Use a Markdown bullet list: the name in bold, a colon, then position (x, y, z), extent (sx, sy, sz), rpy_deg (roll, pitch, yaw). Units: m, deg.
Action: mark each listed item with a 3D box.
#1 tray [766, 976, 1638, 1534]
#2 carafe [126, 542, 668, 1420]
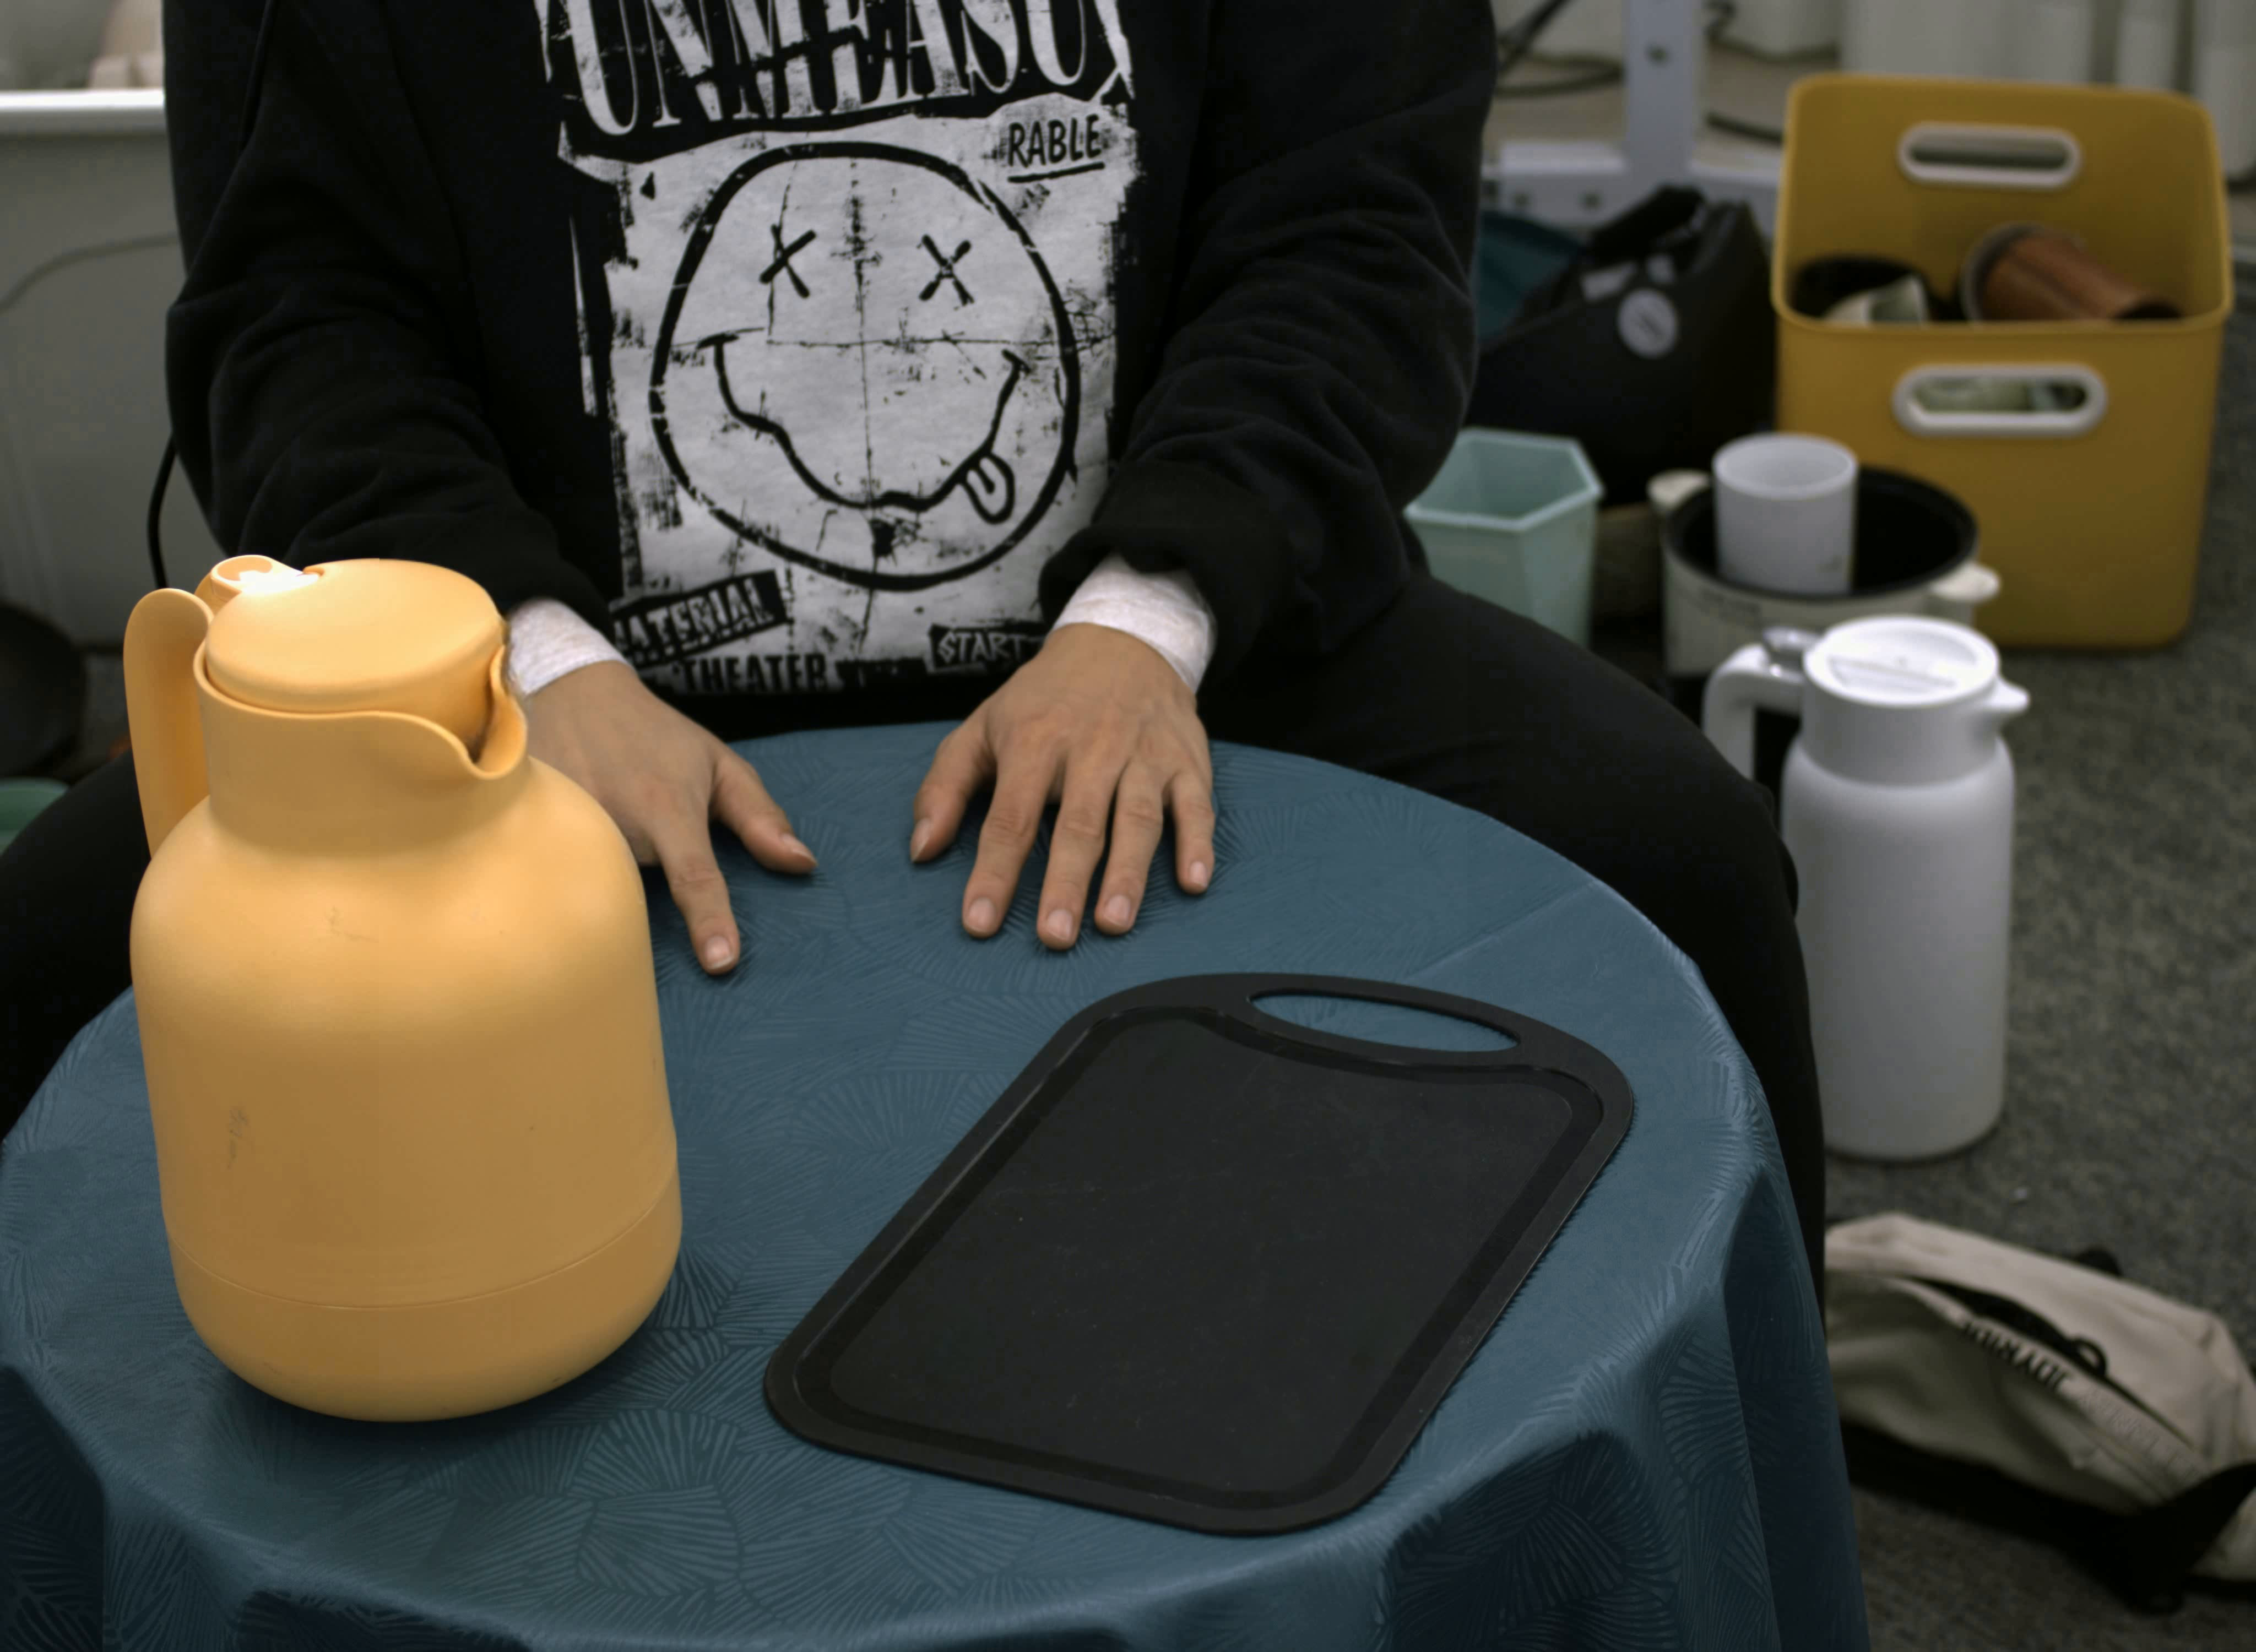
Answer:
- **tray**: position (0.032, 0.128, 1.835), extent (0.210, 0.009, 0.331), rpy_deg (10, 30, 23)
- **carafe**: position (-0.241, 0.038, 1.763), extent (0.165, 0.257, 0.202), rpy_deg (-20, 32, -35)
